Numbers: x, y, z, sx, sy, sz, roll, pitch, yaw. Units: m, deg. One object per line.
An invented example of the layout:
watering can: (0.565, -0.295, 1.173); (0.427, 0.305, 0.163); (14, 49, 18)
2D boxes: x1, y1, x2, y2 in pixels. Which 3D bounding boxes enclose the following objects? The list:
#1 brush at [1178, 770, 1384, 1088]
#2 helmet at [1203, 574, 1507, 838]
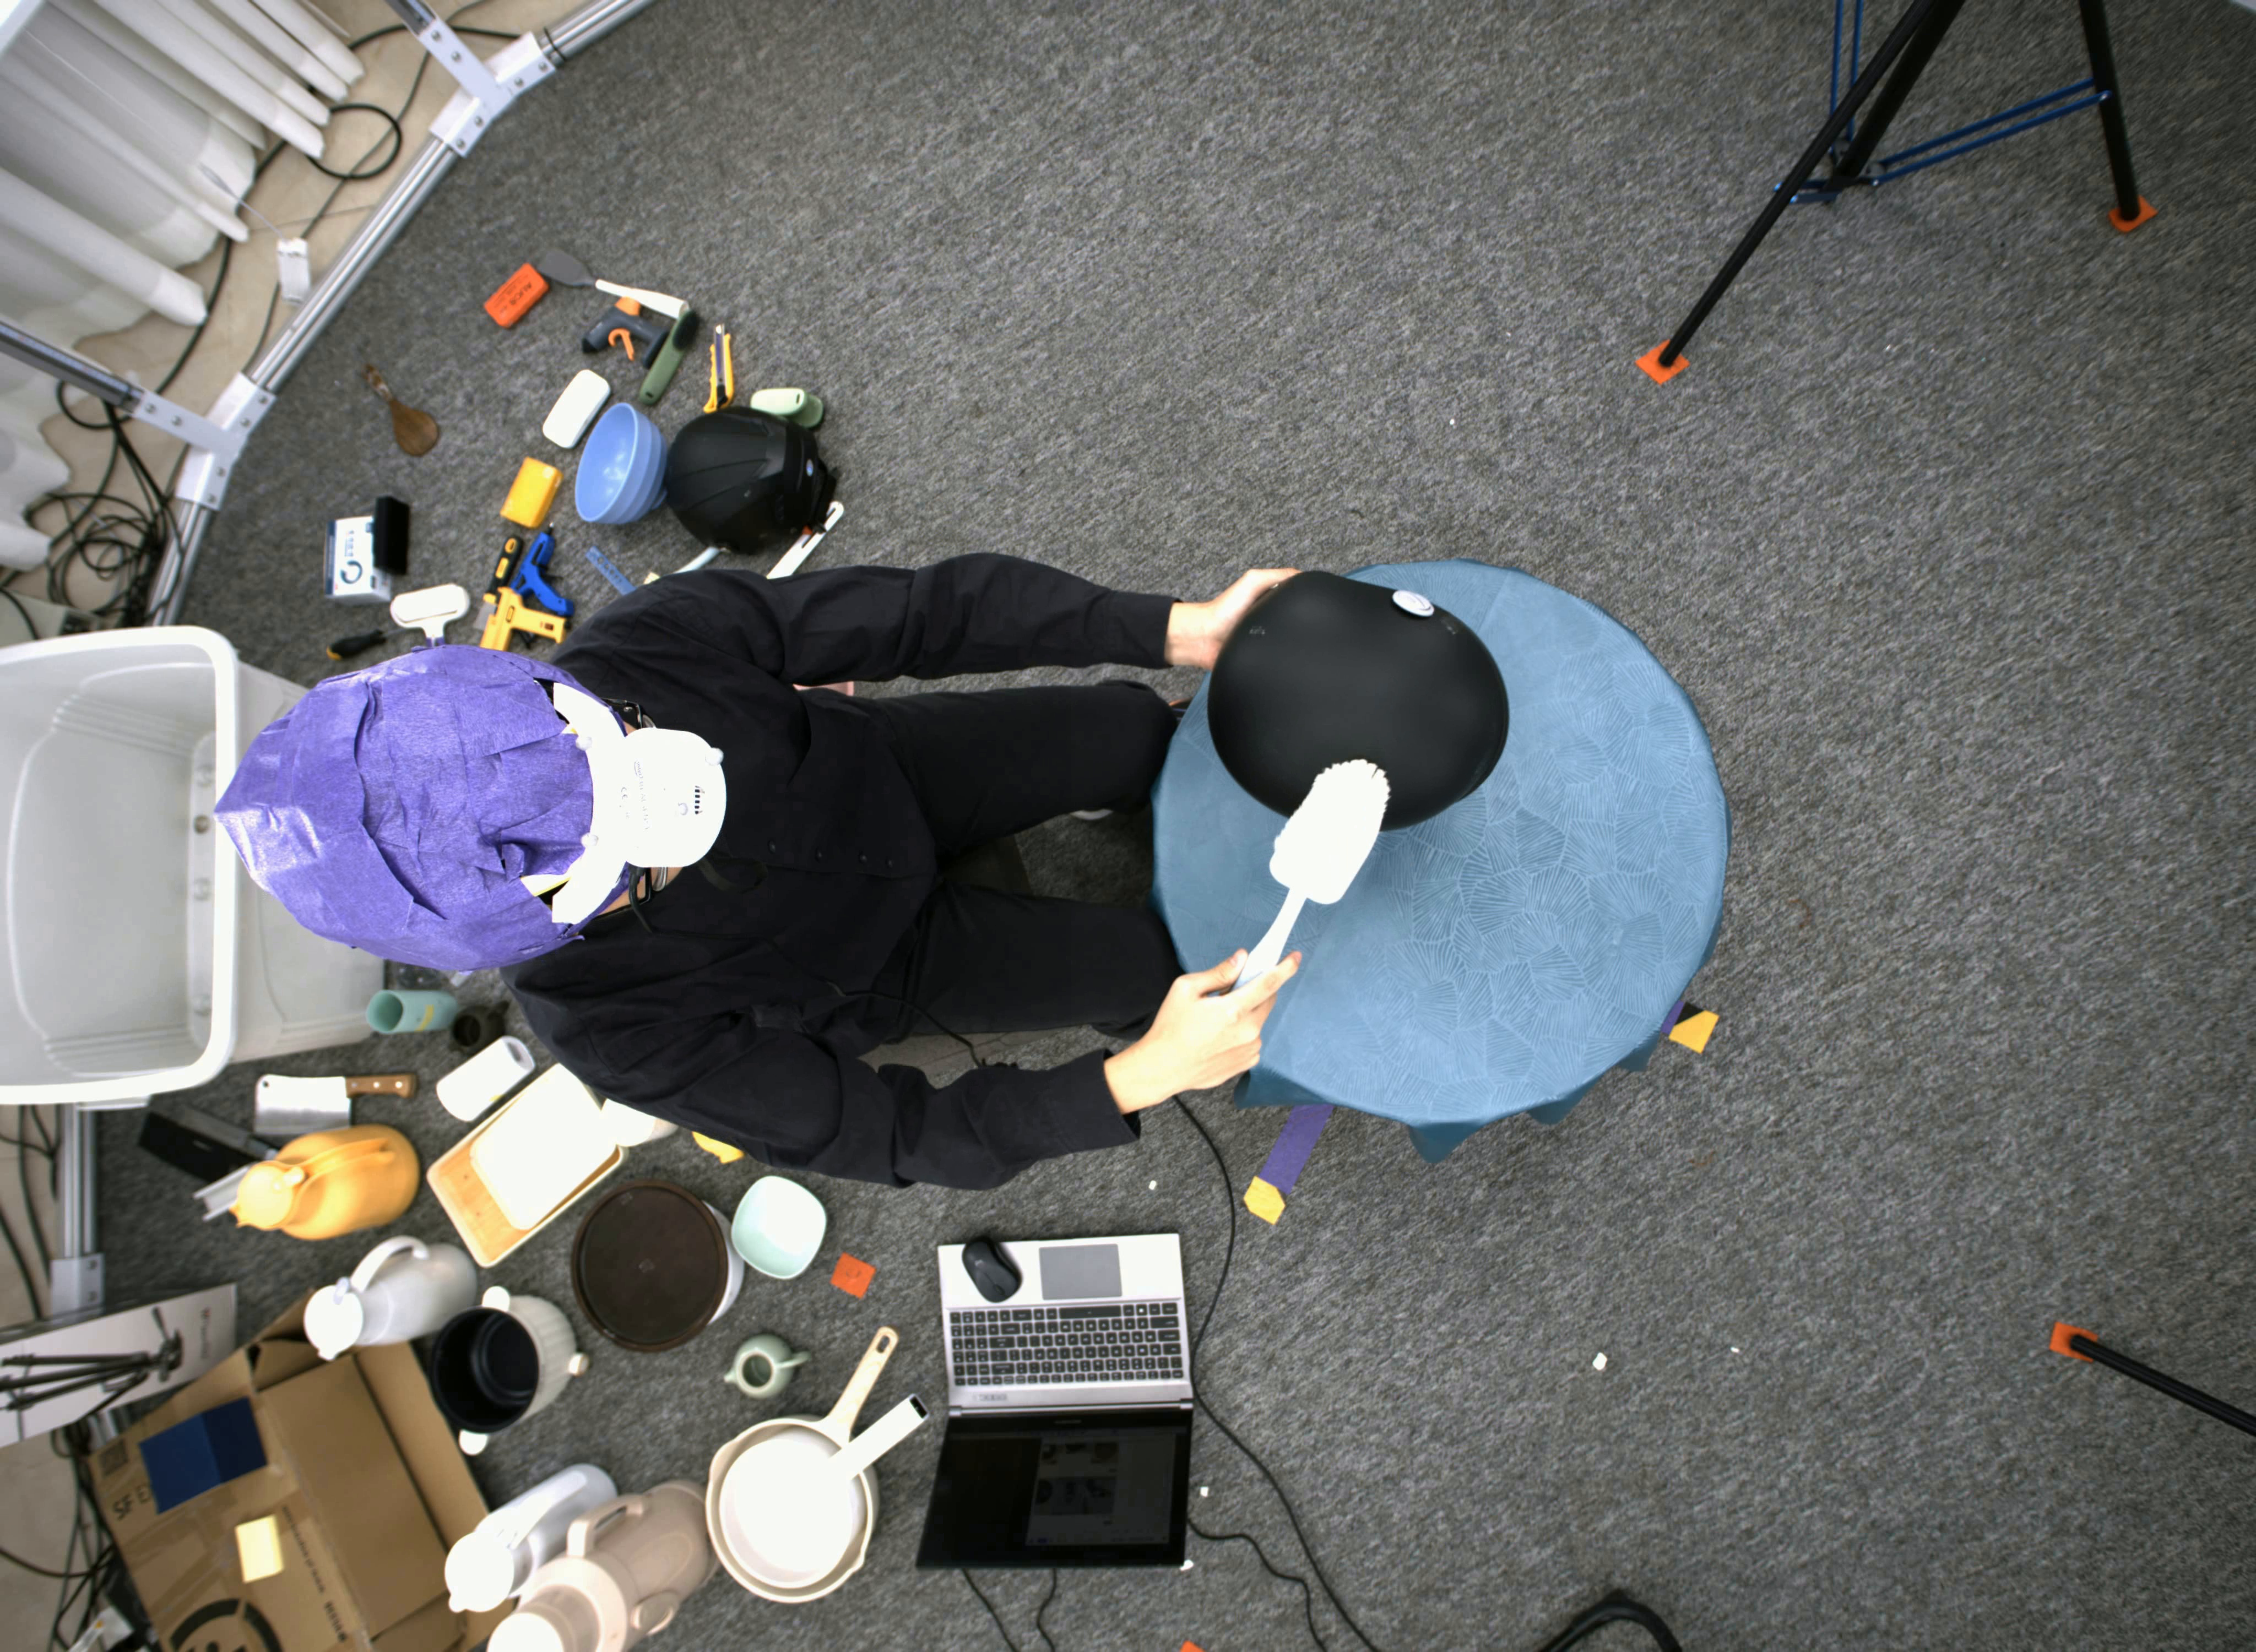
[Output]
brush: (0.125, 0.088, 1.200); (0.082, 0.084, 0.332); (48, 122, 37)
helmet: (0.178, -0.094, 1.212); (0.272, 0.163, 0.235); (26, 127, 25)
